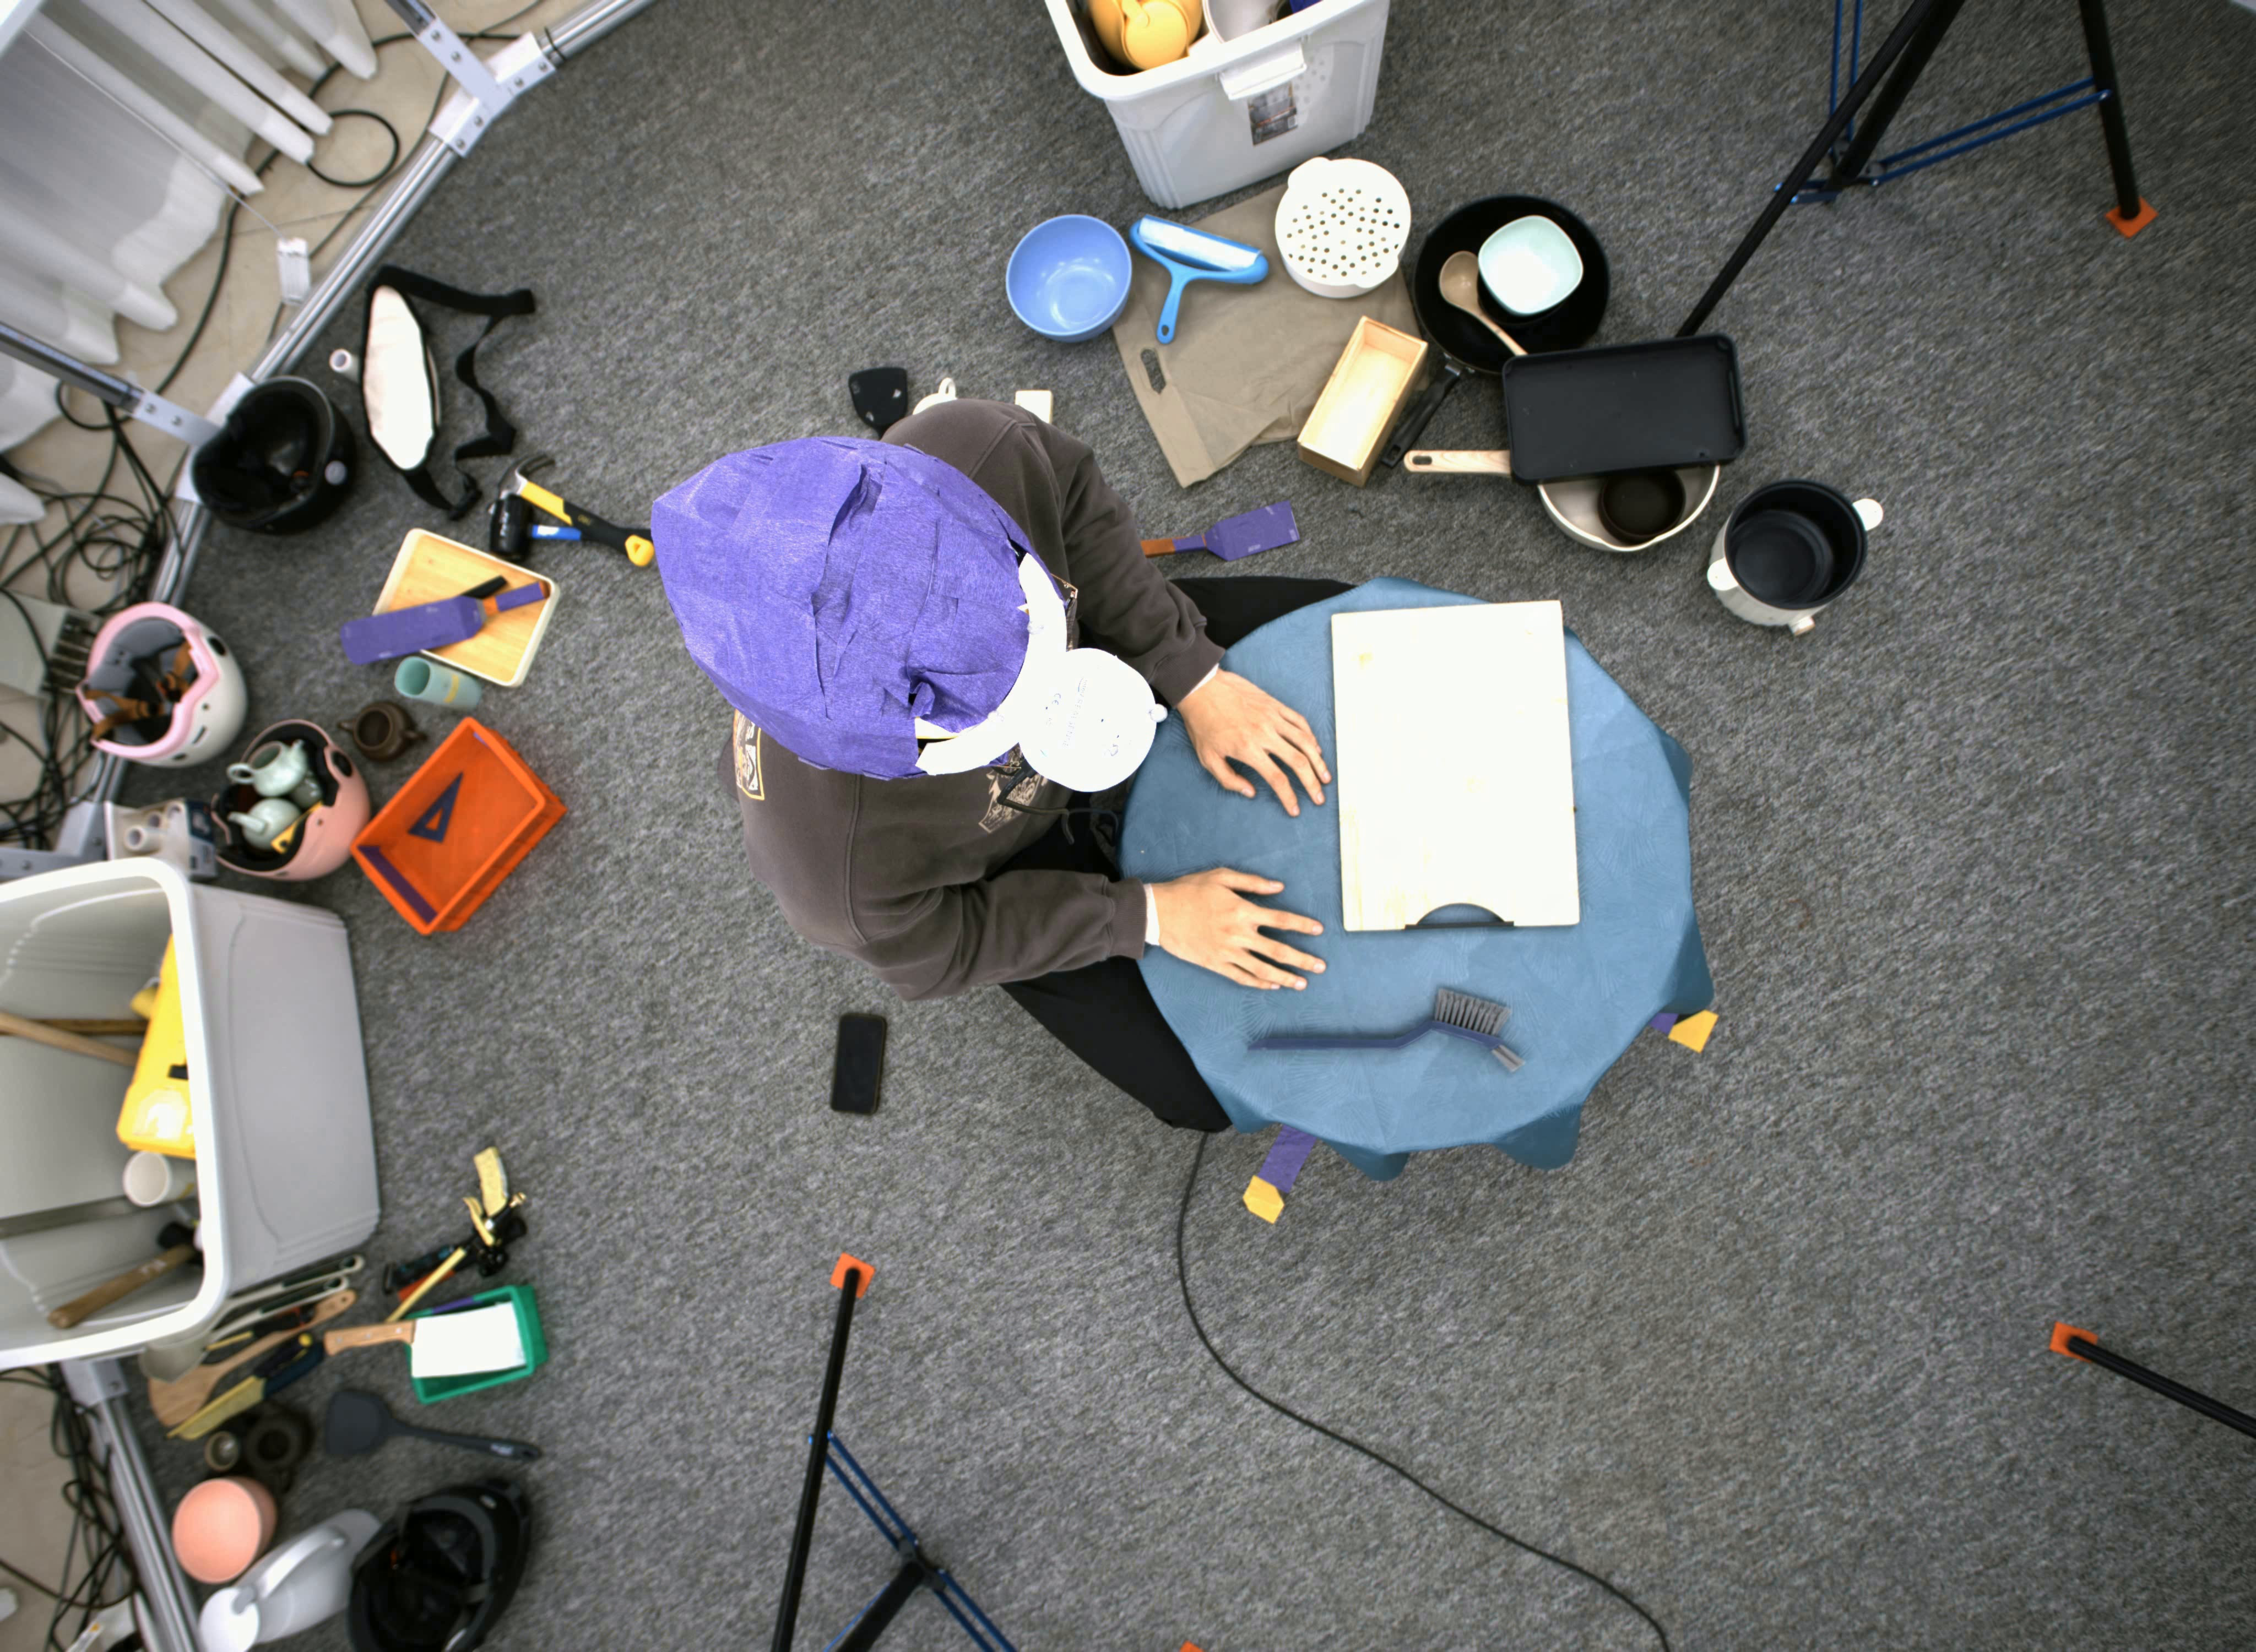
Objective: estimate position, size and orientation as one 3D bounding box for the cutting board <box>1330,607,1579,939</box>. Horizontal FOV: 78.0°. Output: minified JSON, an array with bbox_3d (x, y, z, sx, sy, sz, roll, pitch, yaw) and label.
[{"bbox_3d":[0.340,-0.059,1.443,0.252,0.023,0.347,-3,87,11],"label":"cutting board"}]

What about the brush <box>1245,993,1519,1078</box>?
[{"bbox_3d":[0.261,0.230,1.436,0.274,0.033,0.095,-9,85,9],"label":"brush"}]
